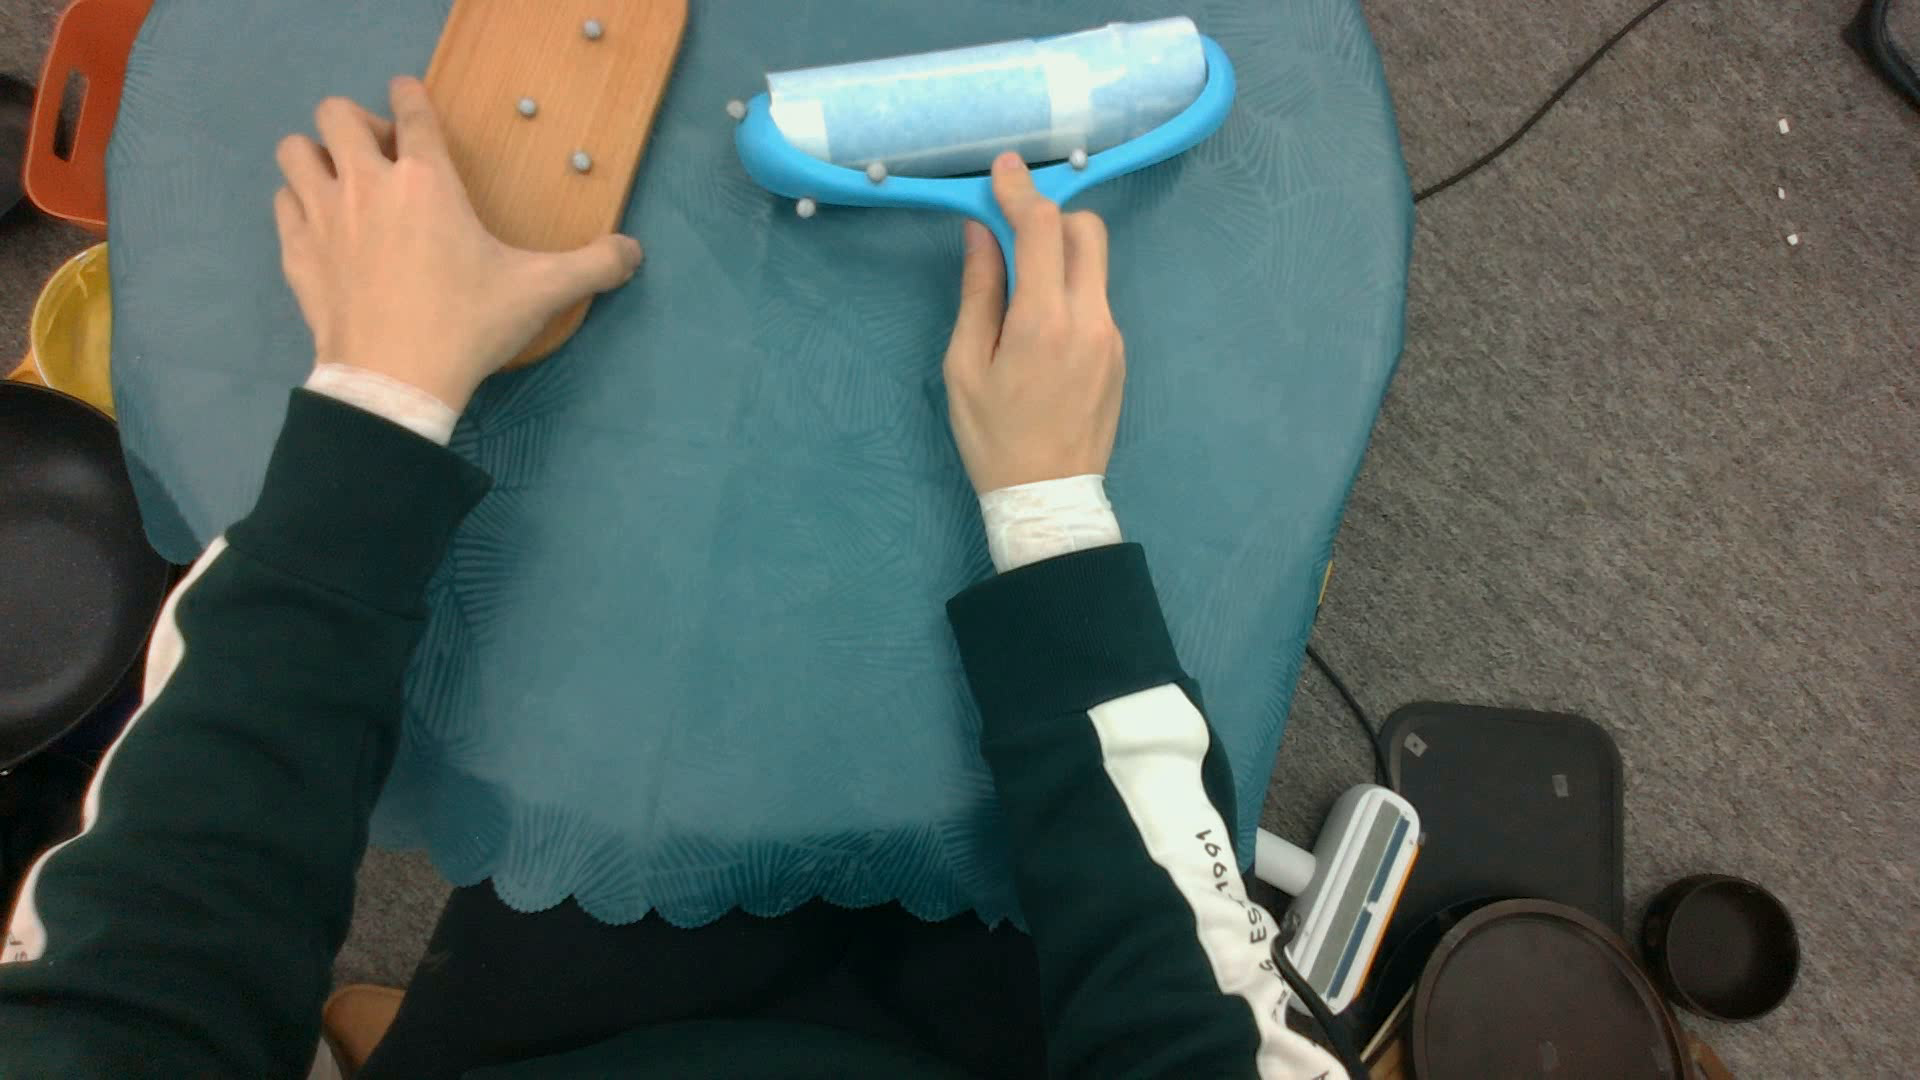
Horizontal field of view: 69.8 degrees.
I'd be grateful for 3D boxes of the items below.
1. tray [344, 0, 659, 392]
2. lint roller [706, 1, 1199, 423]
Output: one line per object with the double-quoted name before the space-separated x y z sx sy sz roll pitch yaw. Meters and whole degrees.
"tray" -0.205 -0.177 0.626 0.102 0.020 0.231 14 81 -2
"lint roller" 0.014 -0.146 0.621 0.229 0.068 0.180 -15 81 -9
